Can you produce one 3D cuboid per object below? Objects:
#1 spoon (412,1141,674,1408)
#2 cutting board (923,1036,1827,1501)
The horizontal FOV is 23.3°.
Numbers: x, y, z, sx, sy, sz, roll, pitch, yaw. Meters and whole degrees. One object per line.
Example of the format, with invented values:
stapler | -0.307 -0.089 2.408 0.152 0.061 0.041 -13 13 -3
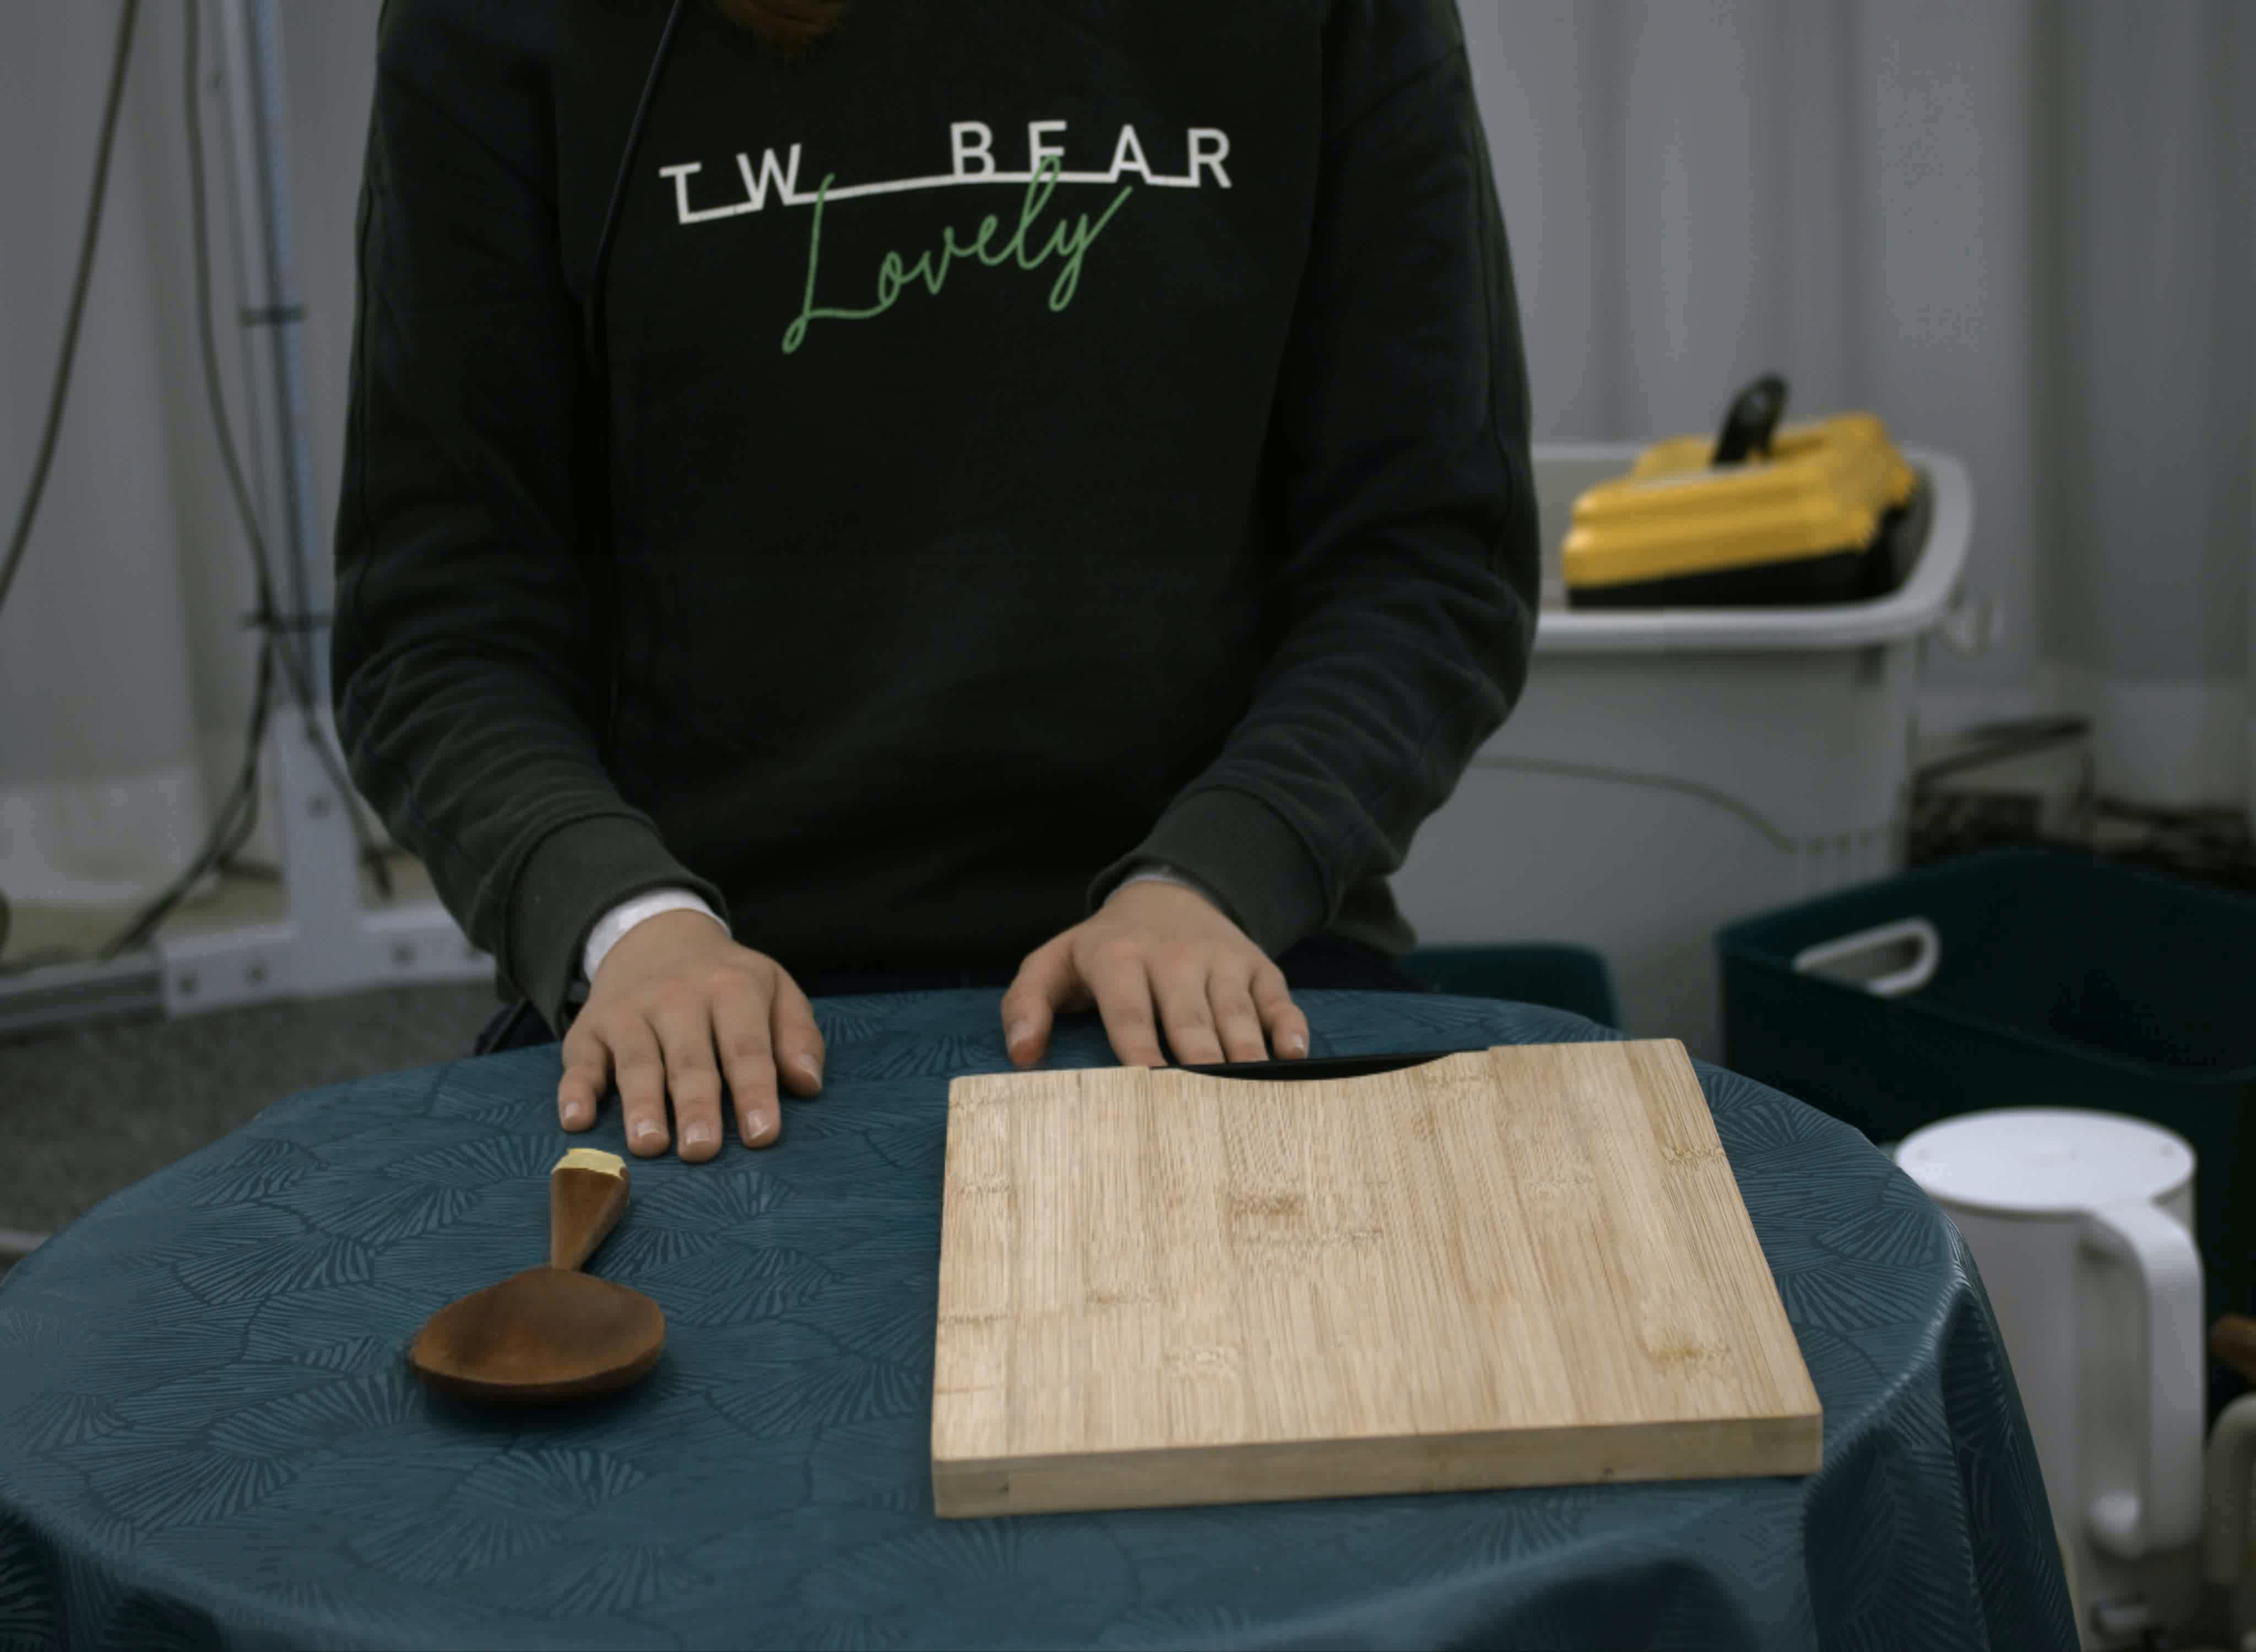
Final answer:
spoon | -0.168 0.135 1.636 0.075 0.017 0.217 -3 15 1
cutting board | 0.065 0.127 1.626 0.250 0.023 0.351 -3 15 -1
